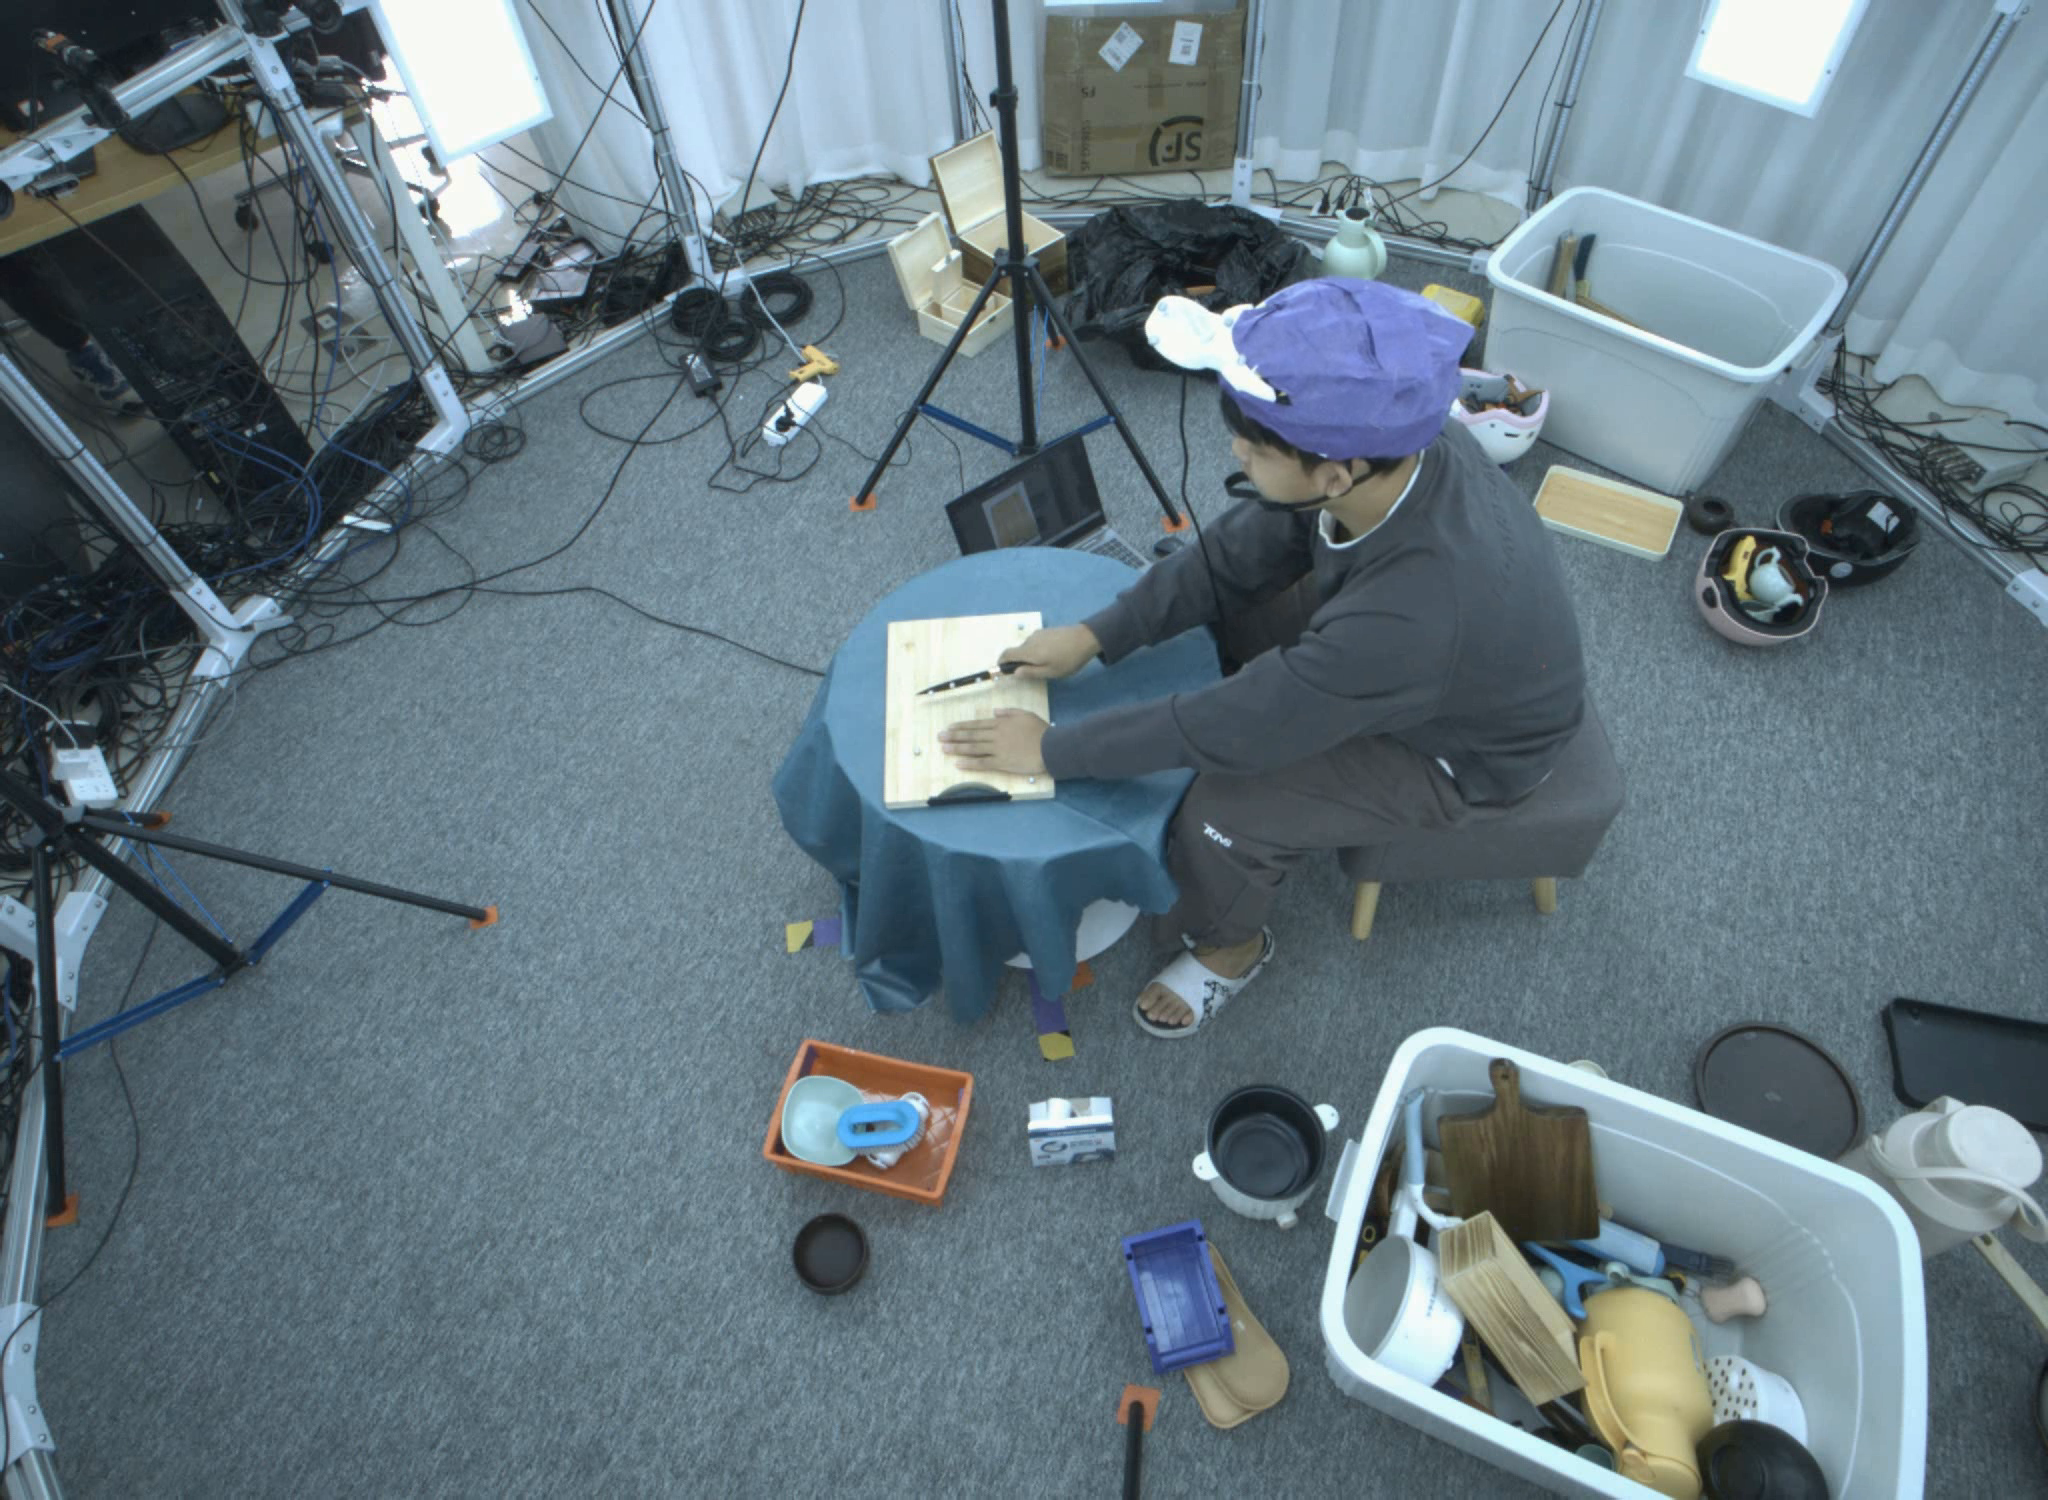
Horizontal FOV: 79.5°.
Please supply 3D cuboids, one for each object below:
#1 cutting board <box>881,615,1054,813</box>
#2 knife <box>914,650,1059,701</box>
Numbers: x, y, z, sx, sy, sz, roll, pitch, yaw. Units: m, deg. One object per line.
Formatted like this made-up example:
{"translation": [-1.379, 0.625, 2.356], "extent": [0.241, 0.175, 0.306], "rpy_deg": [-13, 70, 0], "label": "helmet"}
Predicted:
{"translation": [-0.086, -0.062, 1.824], "extent": [0.251, 0.024, 0.344], "rpy_deg": [-4, 55, -1], "label": "cutting board"}
{"translation": [-0.056, -0.110, 1.821], "extent": [0.226, 0.026, 0.017], "rpy_deg": [-17, 62, -5], "label": "knife"}
